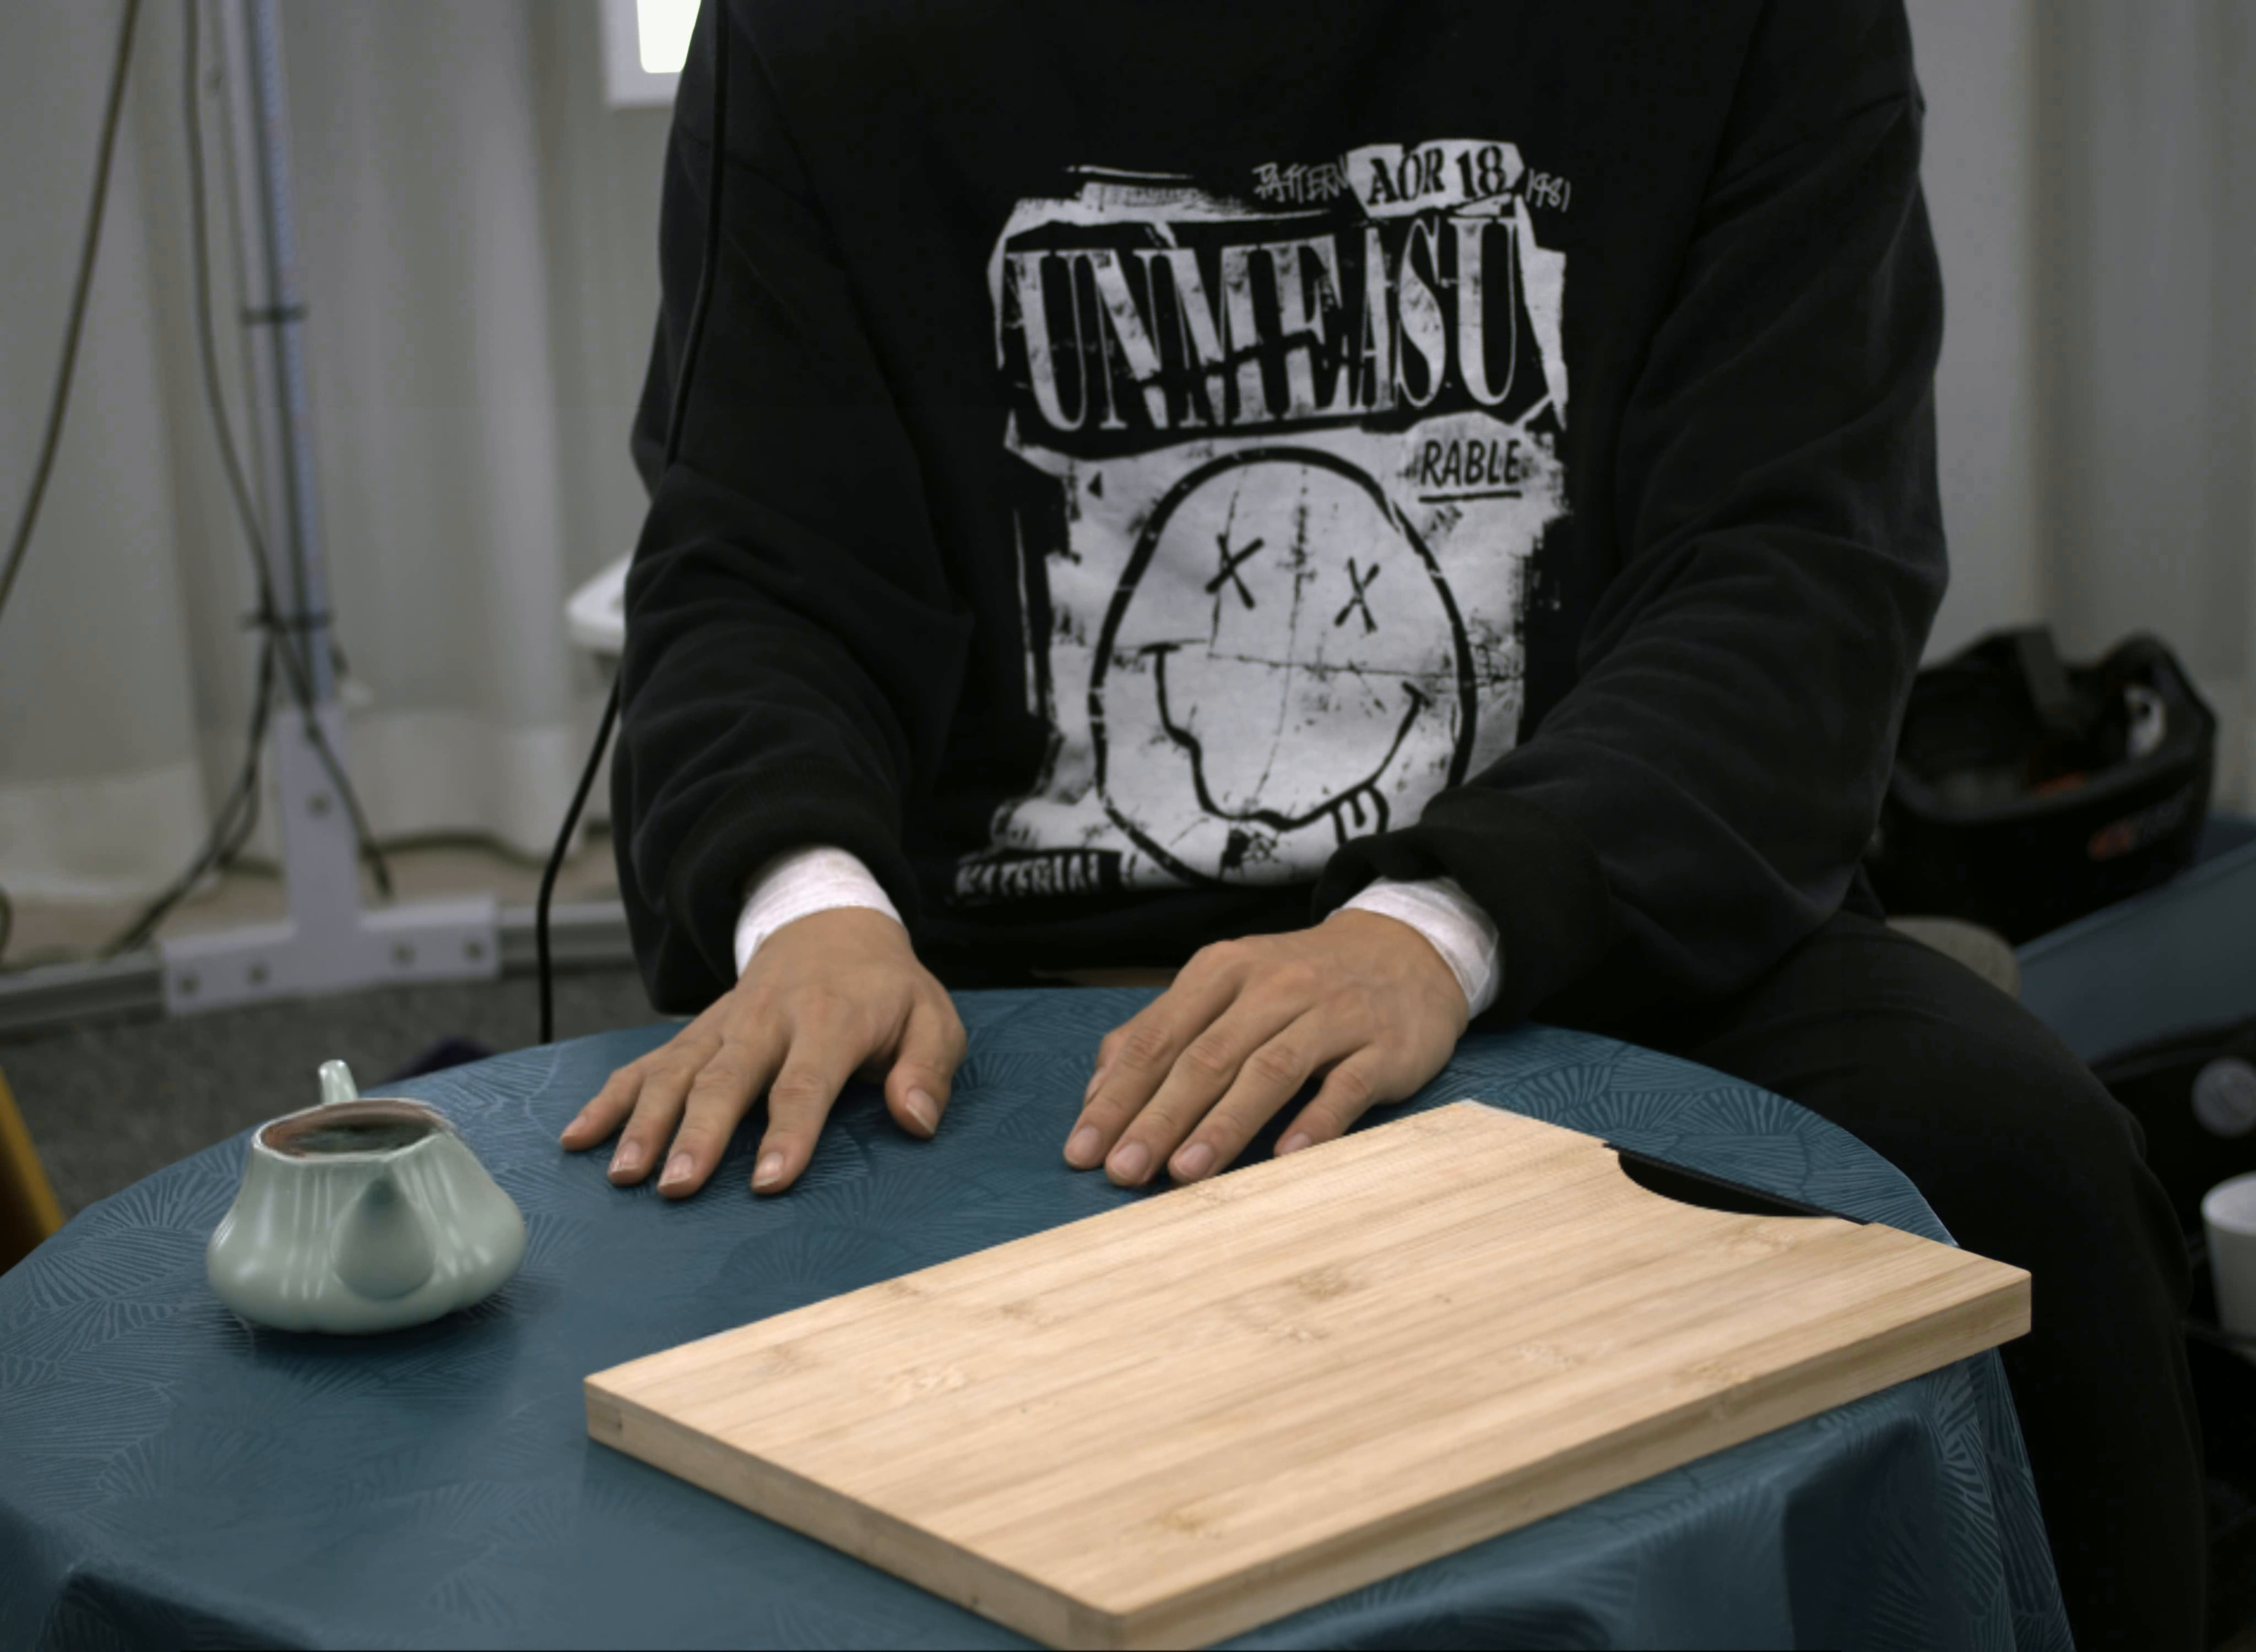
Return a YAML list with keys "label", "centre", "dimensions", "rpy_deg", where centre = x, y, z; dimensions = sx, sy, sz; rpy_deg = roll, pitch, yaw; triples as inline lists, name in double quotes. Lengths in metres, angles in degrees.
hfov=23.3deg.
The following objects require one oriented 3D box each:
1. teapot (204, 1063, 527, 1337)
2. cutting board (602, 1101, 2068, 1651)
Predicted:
- label: "teapot"
  centre: [-0.230, 0.115, 1.642]
  dimensions: [0.096, 0.061, 0.138]
  rpy_deg: [-9, 16, -16]
- label: "cutting board"
  centre: [0.057, 0.149, 1.542]
  dimensions: [0.347, 0.023, 0.252]
  rpy_deg: [-15, 19, -38]
